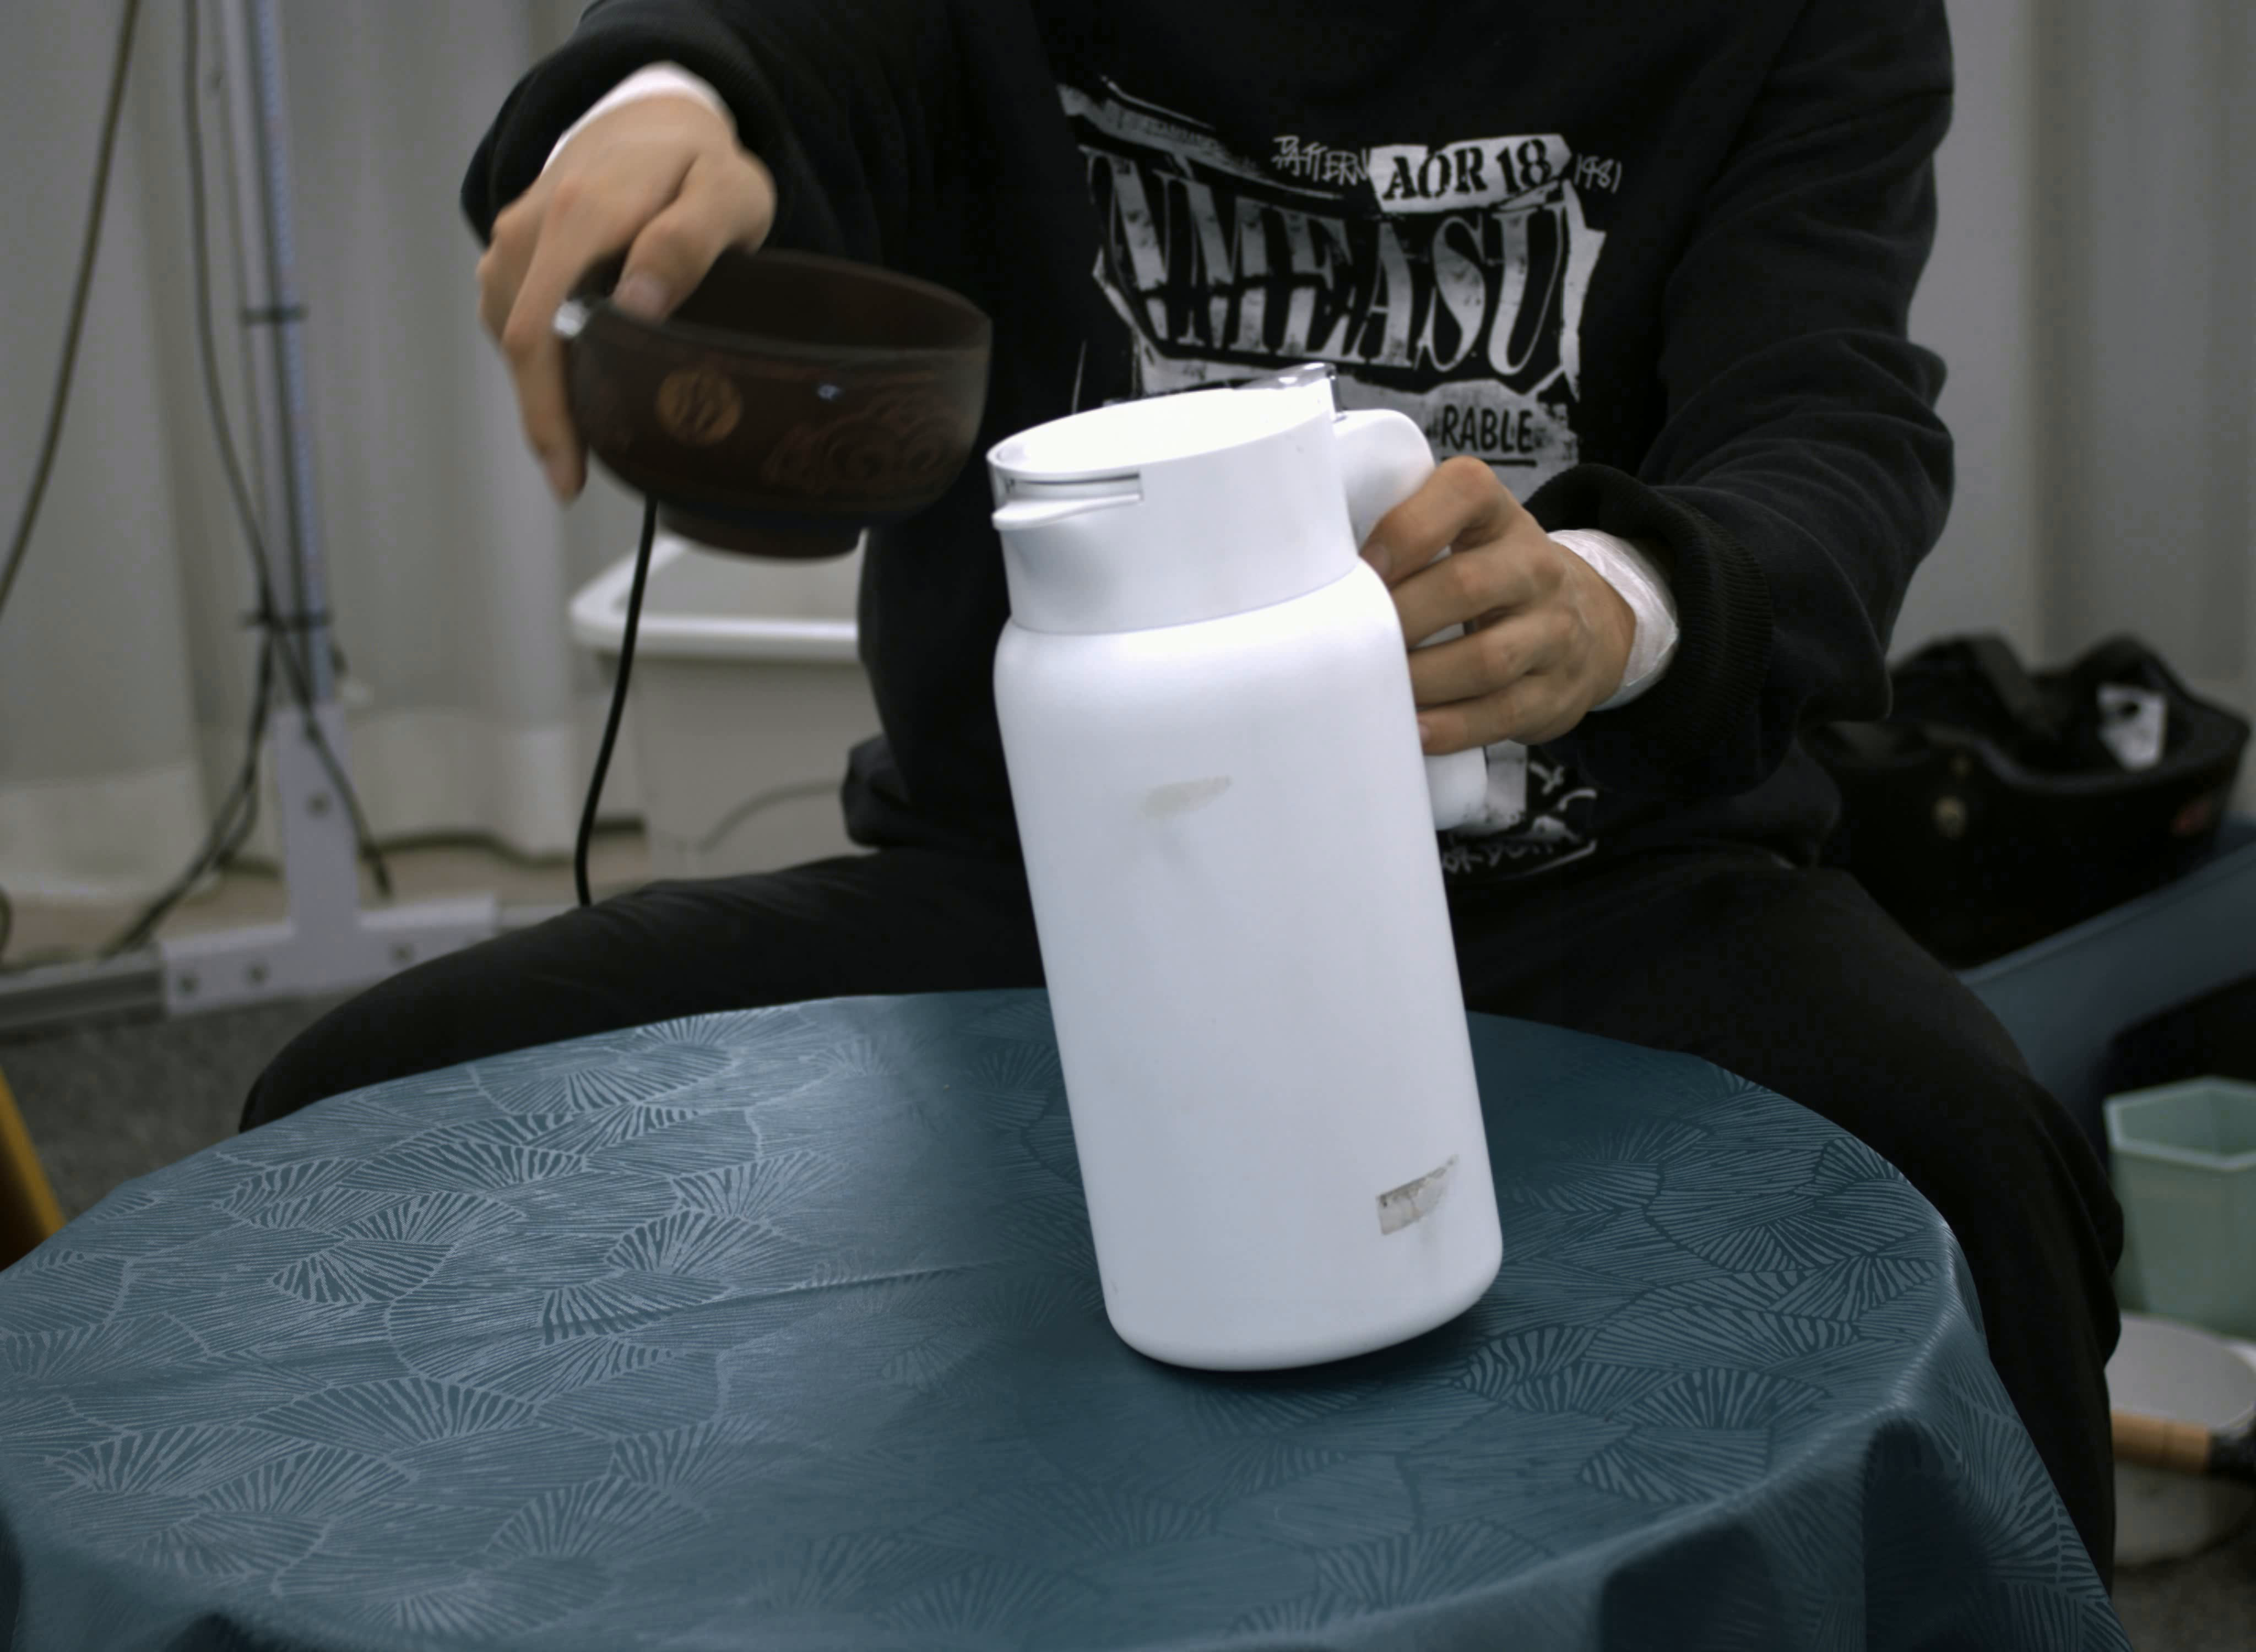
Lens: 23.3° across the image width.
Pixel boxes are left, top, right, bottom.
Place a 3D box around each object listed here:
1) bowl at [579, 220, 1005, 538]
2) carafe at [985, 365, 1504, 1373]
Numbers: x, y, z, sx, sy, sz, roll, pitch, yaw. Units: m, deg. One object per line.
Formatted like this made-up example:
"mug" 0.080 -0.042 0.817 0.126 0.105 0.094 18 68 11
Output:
"bowl" -0.097 -0.122 1.535 0.117 0.069 0.119 9 17 -3
"carafe" 0.040 0.008 1.571 0.124 0.268 0.173 -2 15 40
